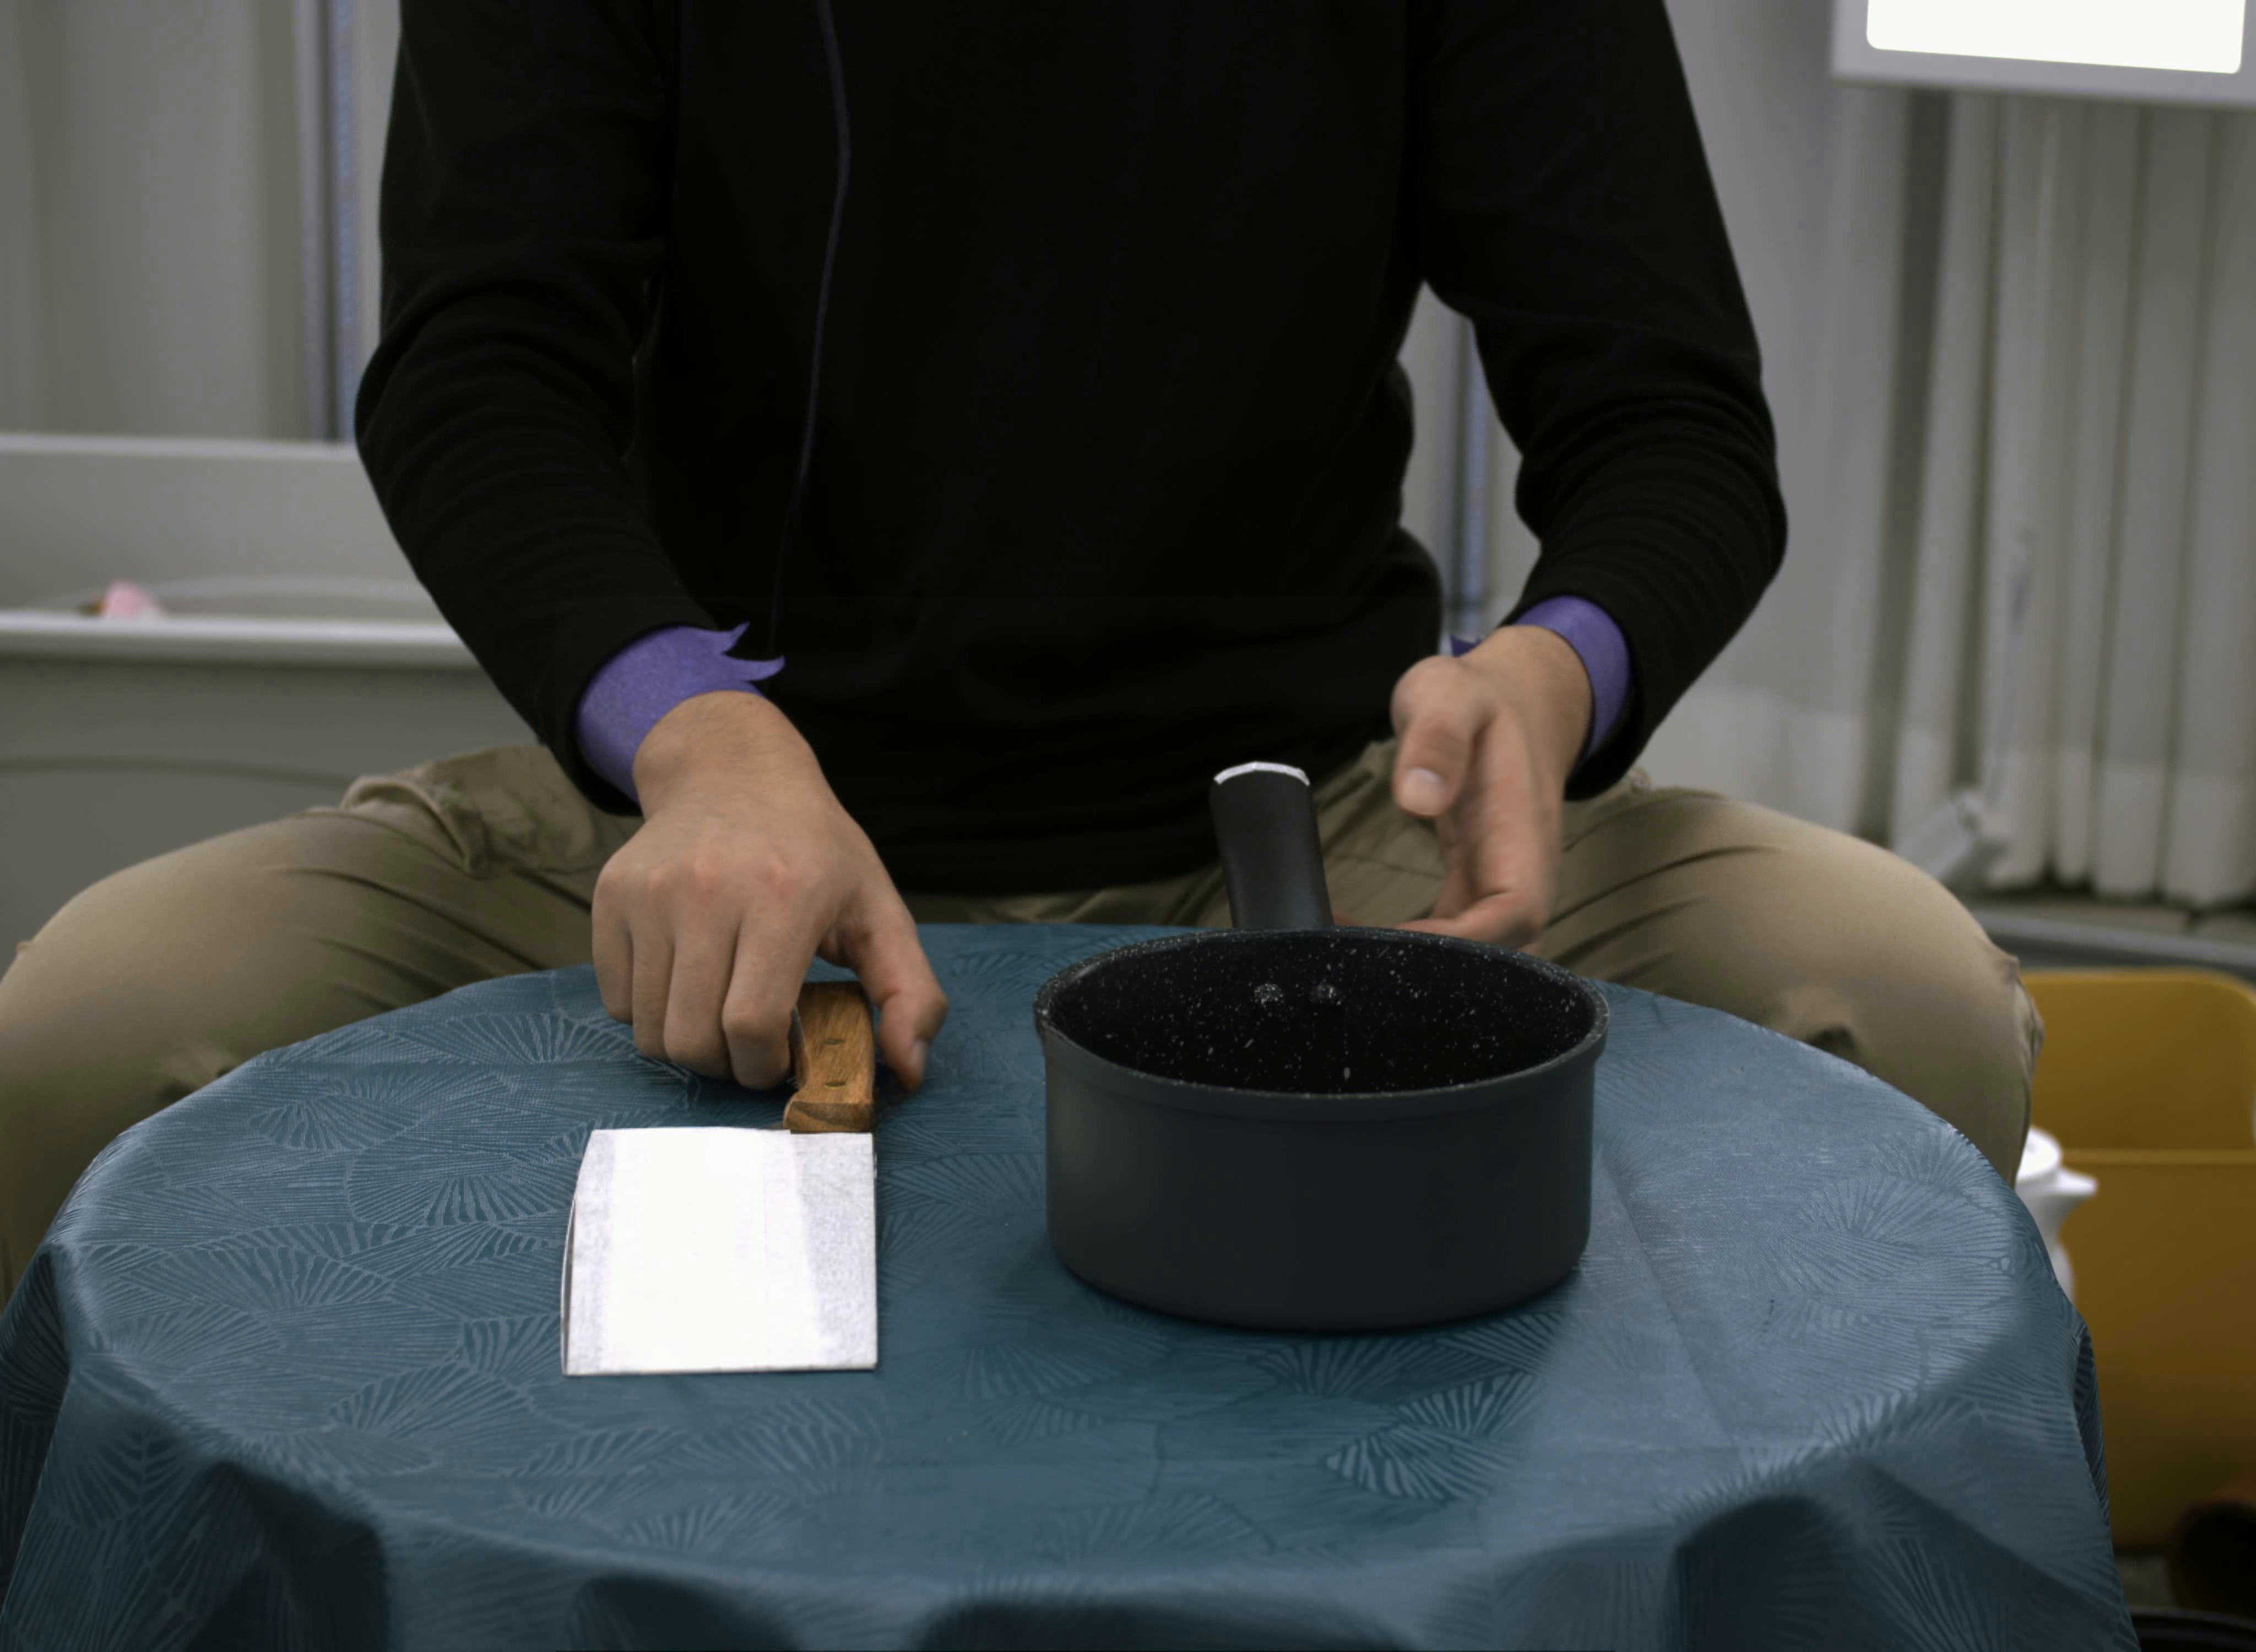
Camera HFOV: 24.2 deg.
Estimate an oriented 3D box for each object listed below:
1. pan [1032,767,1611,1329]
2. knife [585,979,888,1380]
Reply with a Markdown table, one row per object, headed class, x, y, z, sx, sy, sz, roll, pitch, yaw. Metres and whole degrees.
| class | x | y | z | sx | sy | sz | roll | pitch | yaw |
| --- | --- | --- | --- | --- | --- | --- | --- | --- | --- |
| pan | 0.056 | 0.065 | 1.641 | 0.171 | 0.087 | 0.327 | 1 | 16 | -1 |
| knife | -0.120 | 0.106 | 1.613 | 0.093 | 0.021 | 0.303 | -1 | 18 | -3 |
